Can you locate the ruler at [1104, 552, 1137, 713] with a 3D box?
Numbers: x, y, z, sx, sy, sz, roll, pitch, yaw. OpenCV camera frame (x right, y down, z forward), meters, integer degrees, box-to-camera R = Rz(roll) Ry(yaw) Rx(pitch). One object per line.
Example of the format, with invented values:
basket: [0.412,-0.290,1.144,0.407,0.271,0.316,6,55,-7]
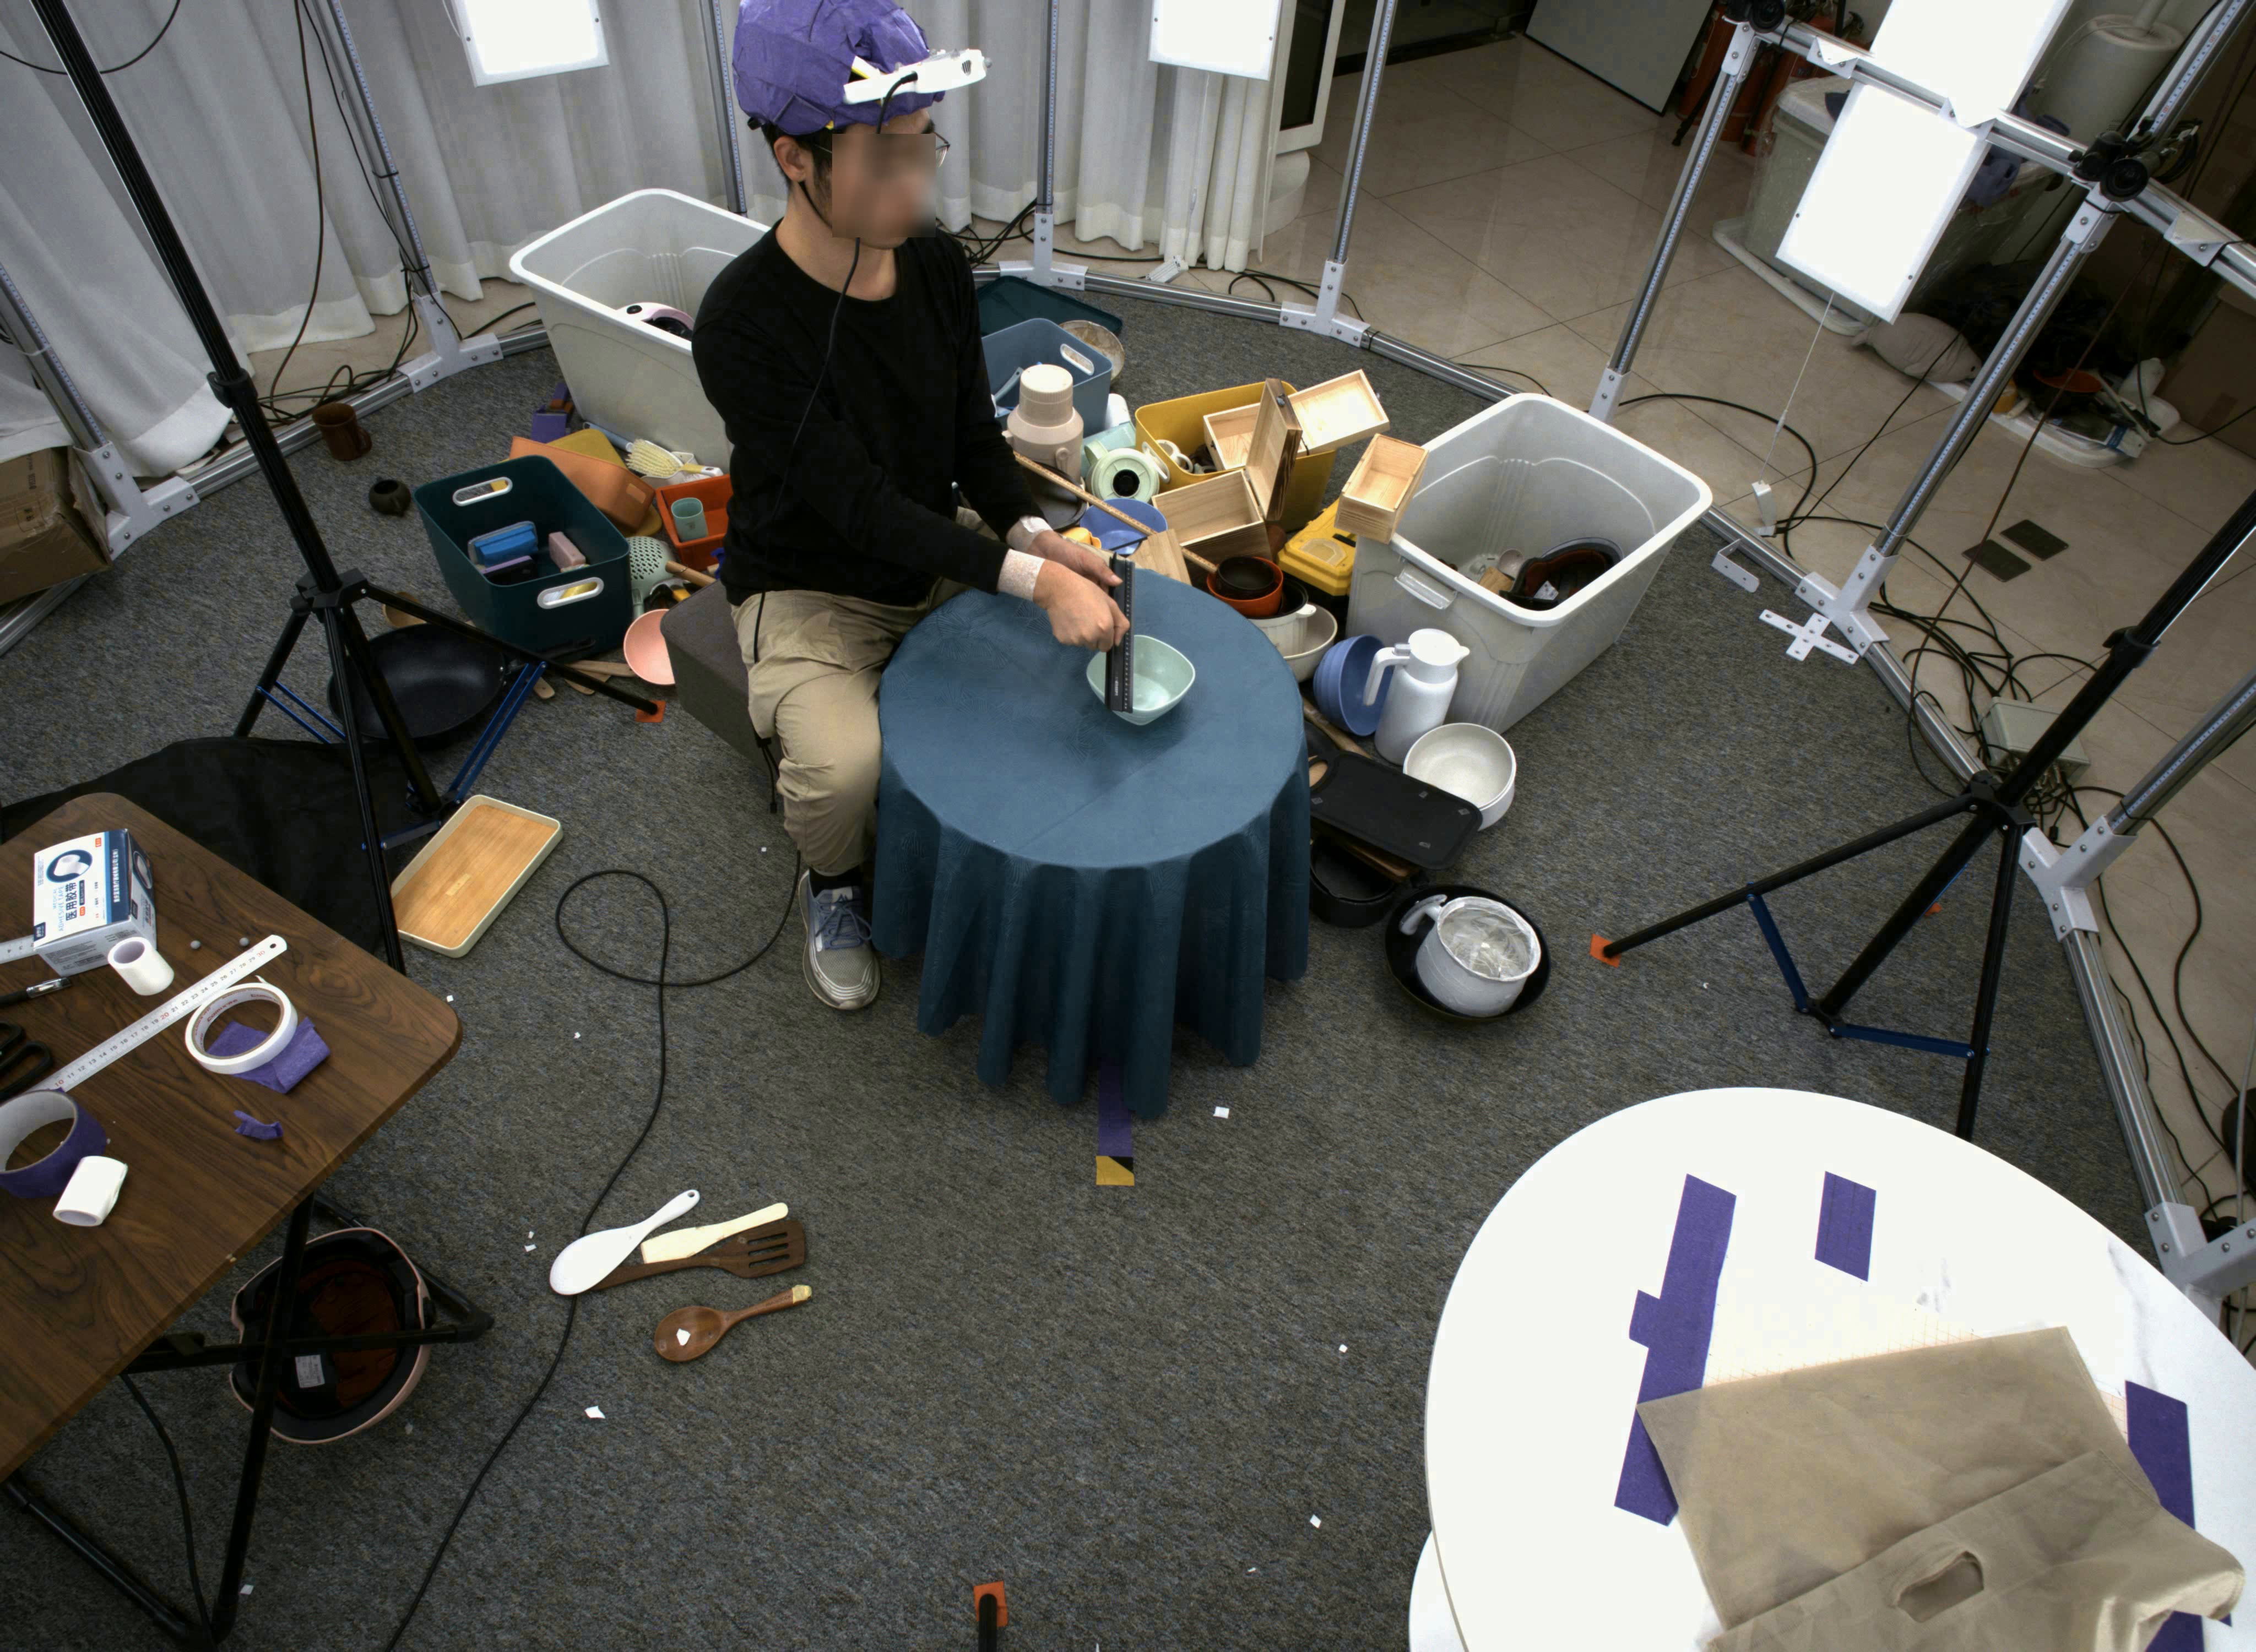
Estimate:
ruler: [-0.008,-0.274,1.779,0.039,0.017,0.320,9,48,-9]

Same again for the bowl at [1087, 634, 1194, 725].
bowl: [0.016,-0.197,1.807,0.151,0.057,0.155,2,51,-3]
